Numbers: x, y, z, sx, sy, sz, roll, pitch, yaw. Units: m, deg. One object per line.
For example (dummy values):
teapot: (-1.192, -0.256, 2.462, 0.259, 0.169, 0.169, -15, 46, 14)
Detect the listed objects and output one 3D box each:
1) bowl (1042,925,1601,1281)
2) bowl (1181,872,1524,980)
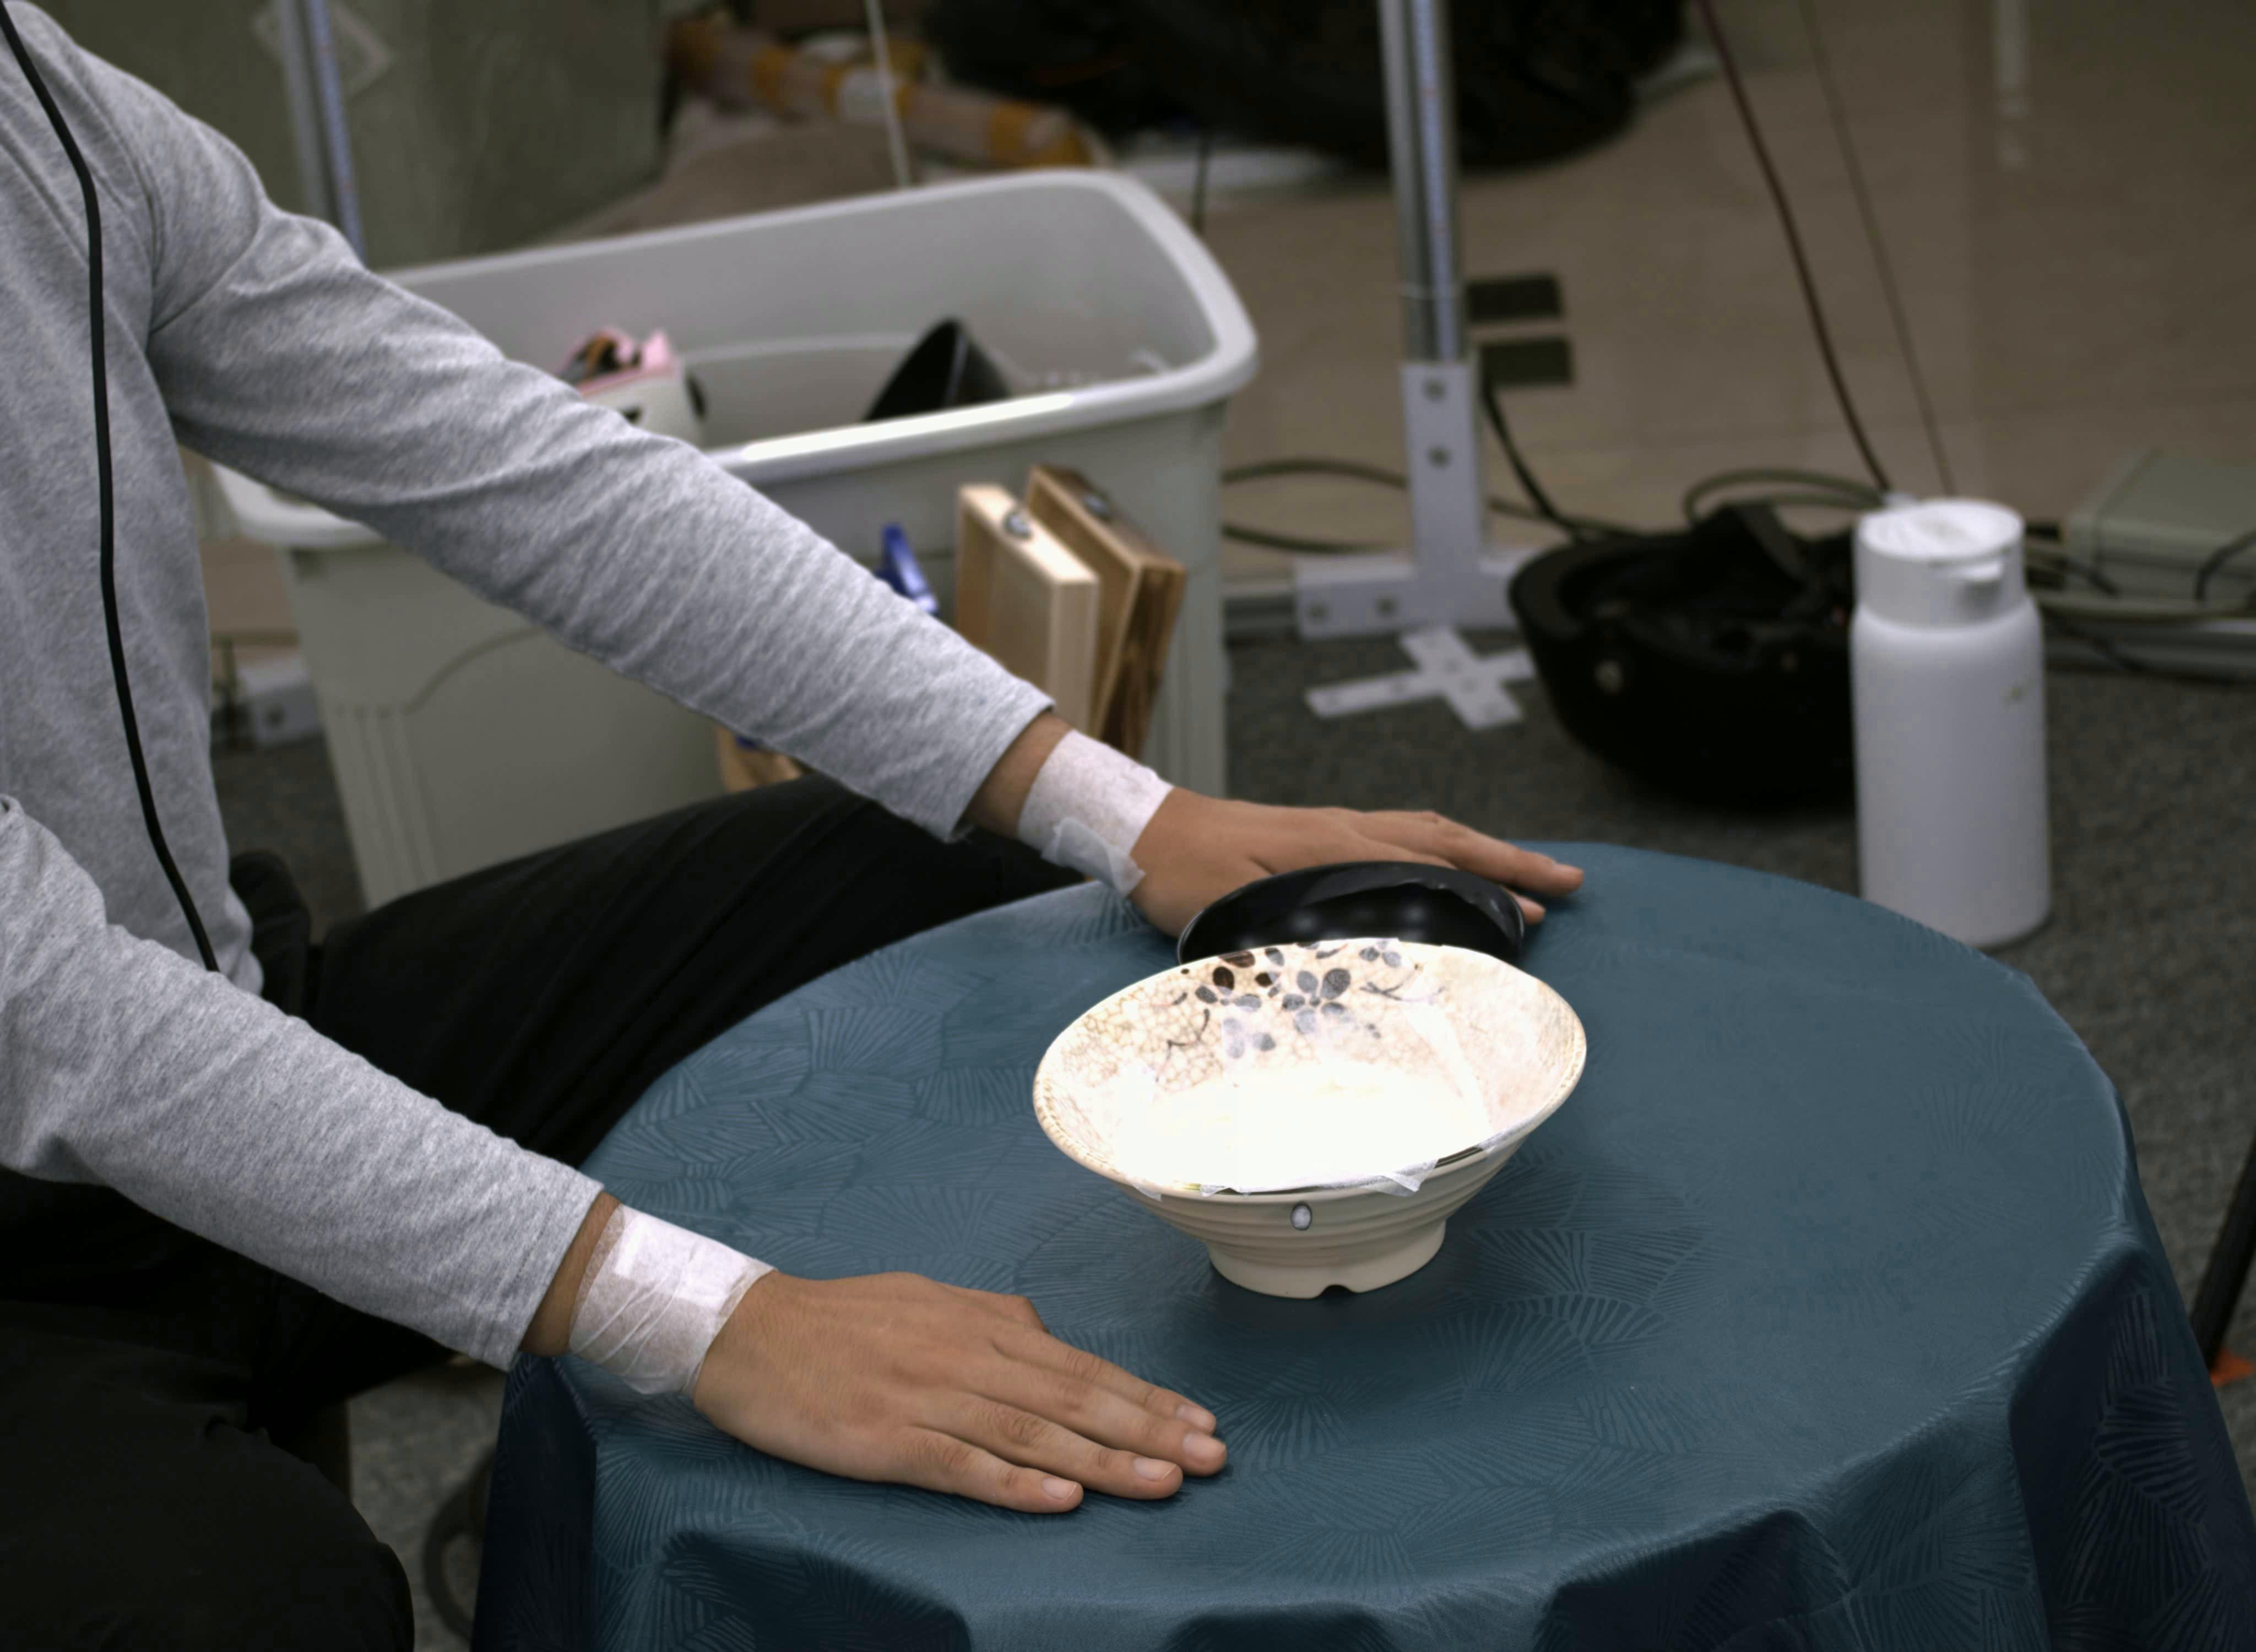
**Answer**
bowl: (0.069, 0.112, 2.071, 0.203, 0.079, 0.201, 1, 25, -1)
bowl: (0.090, 0.068, 2.232, 0.140, 0.050, 0.138, -10, 21, 4)
